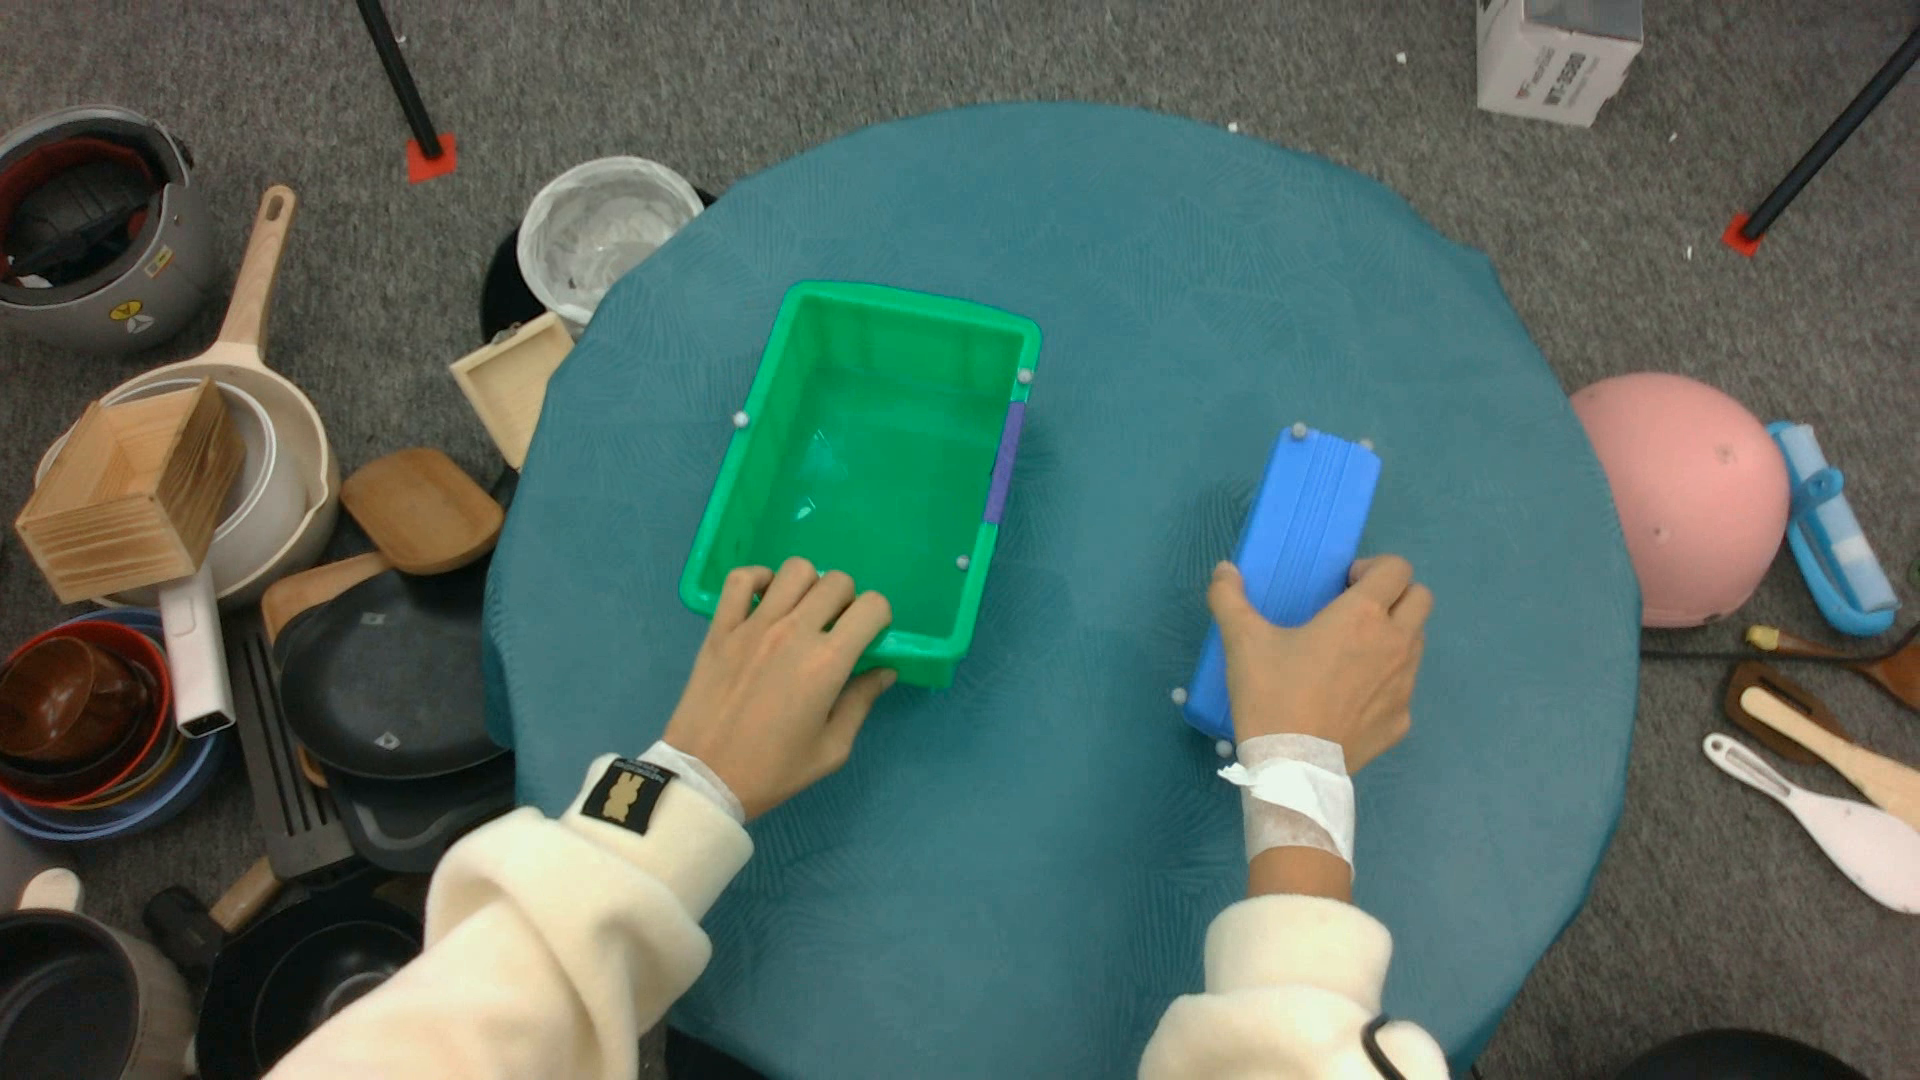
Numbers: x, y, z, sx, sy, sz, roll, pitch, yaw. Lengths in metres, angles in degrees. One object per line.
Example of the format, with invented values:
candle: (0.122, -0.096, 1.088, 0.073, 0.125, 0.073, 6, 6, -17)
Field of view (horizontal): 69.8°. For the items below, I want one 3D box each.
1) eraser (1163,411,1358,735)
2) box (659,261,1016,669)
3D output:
eraser: (0.150, 0.013, 0.677, 0.054, 0.047, 0.162, 20, 75, 6)
box: (-0.055, -0.038, 0.694, 0.138, 0.065, 0.211, 10, 59, 3)
